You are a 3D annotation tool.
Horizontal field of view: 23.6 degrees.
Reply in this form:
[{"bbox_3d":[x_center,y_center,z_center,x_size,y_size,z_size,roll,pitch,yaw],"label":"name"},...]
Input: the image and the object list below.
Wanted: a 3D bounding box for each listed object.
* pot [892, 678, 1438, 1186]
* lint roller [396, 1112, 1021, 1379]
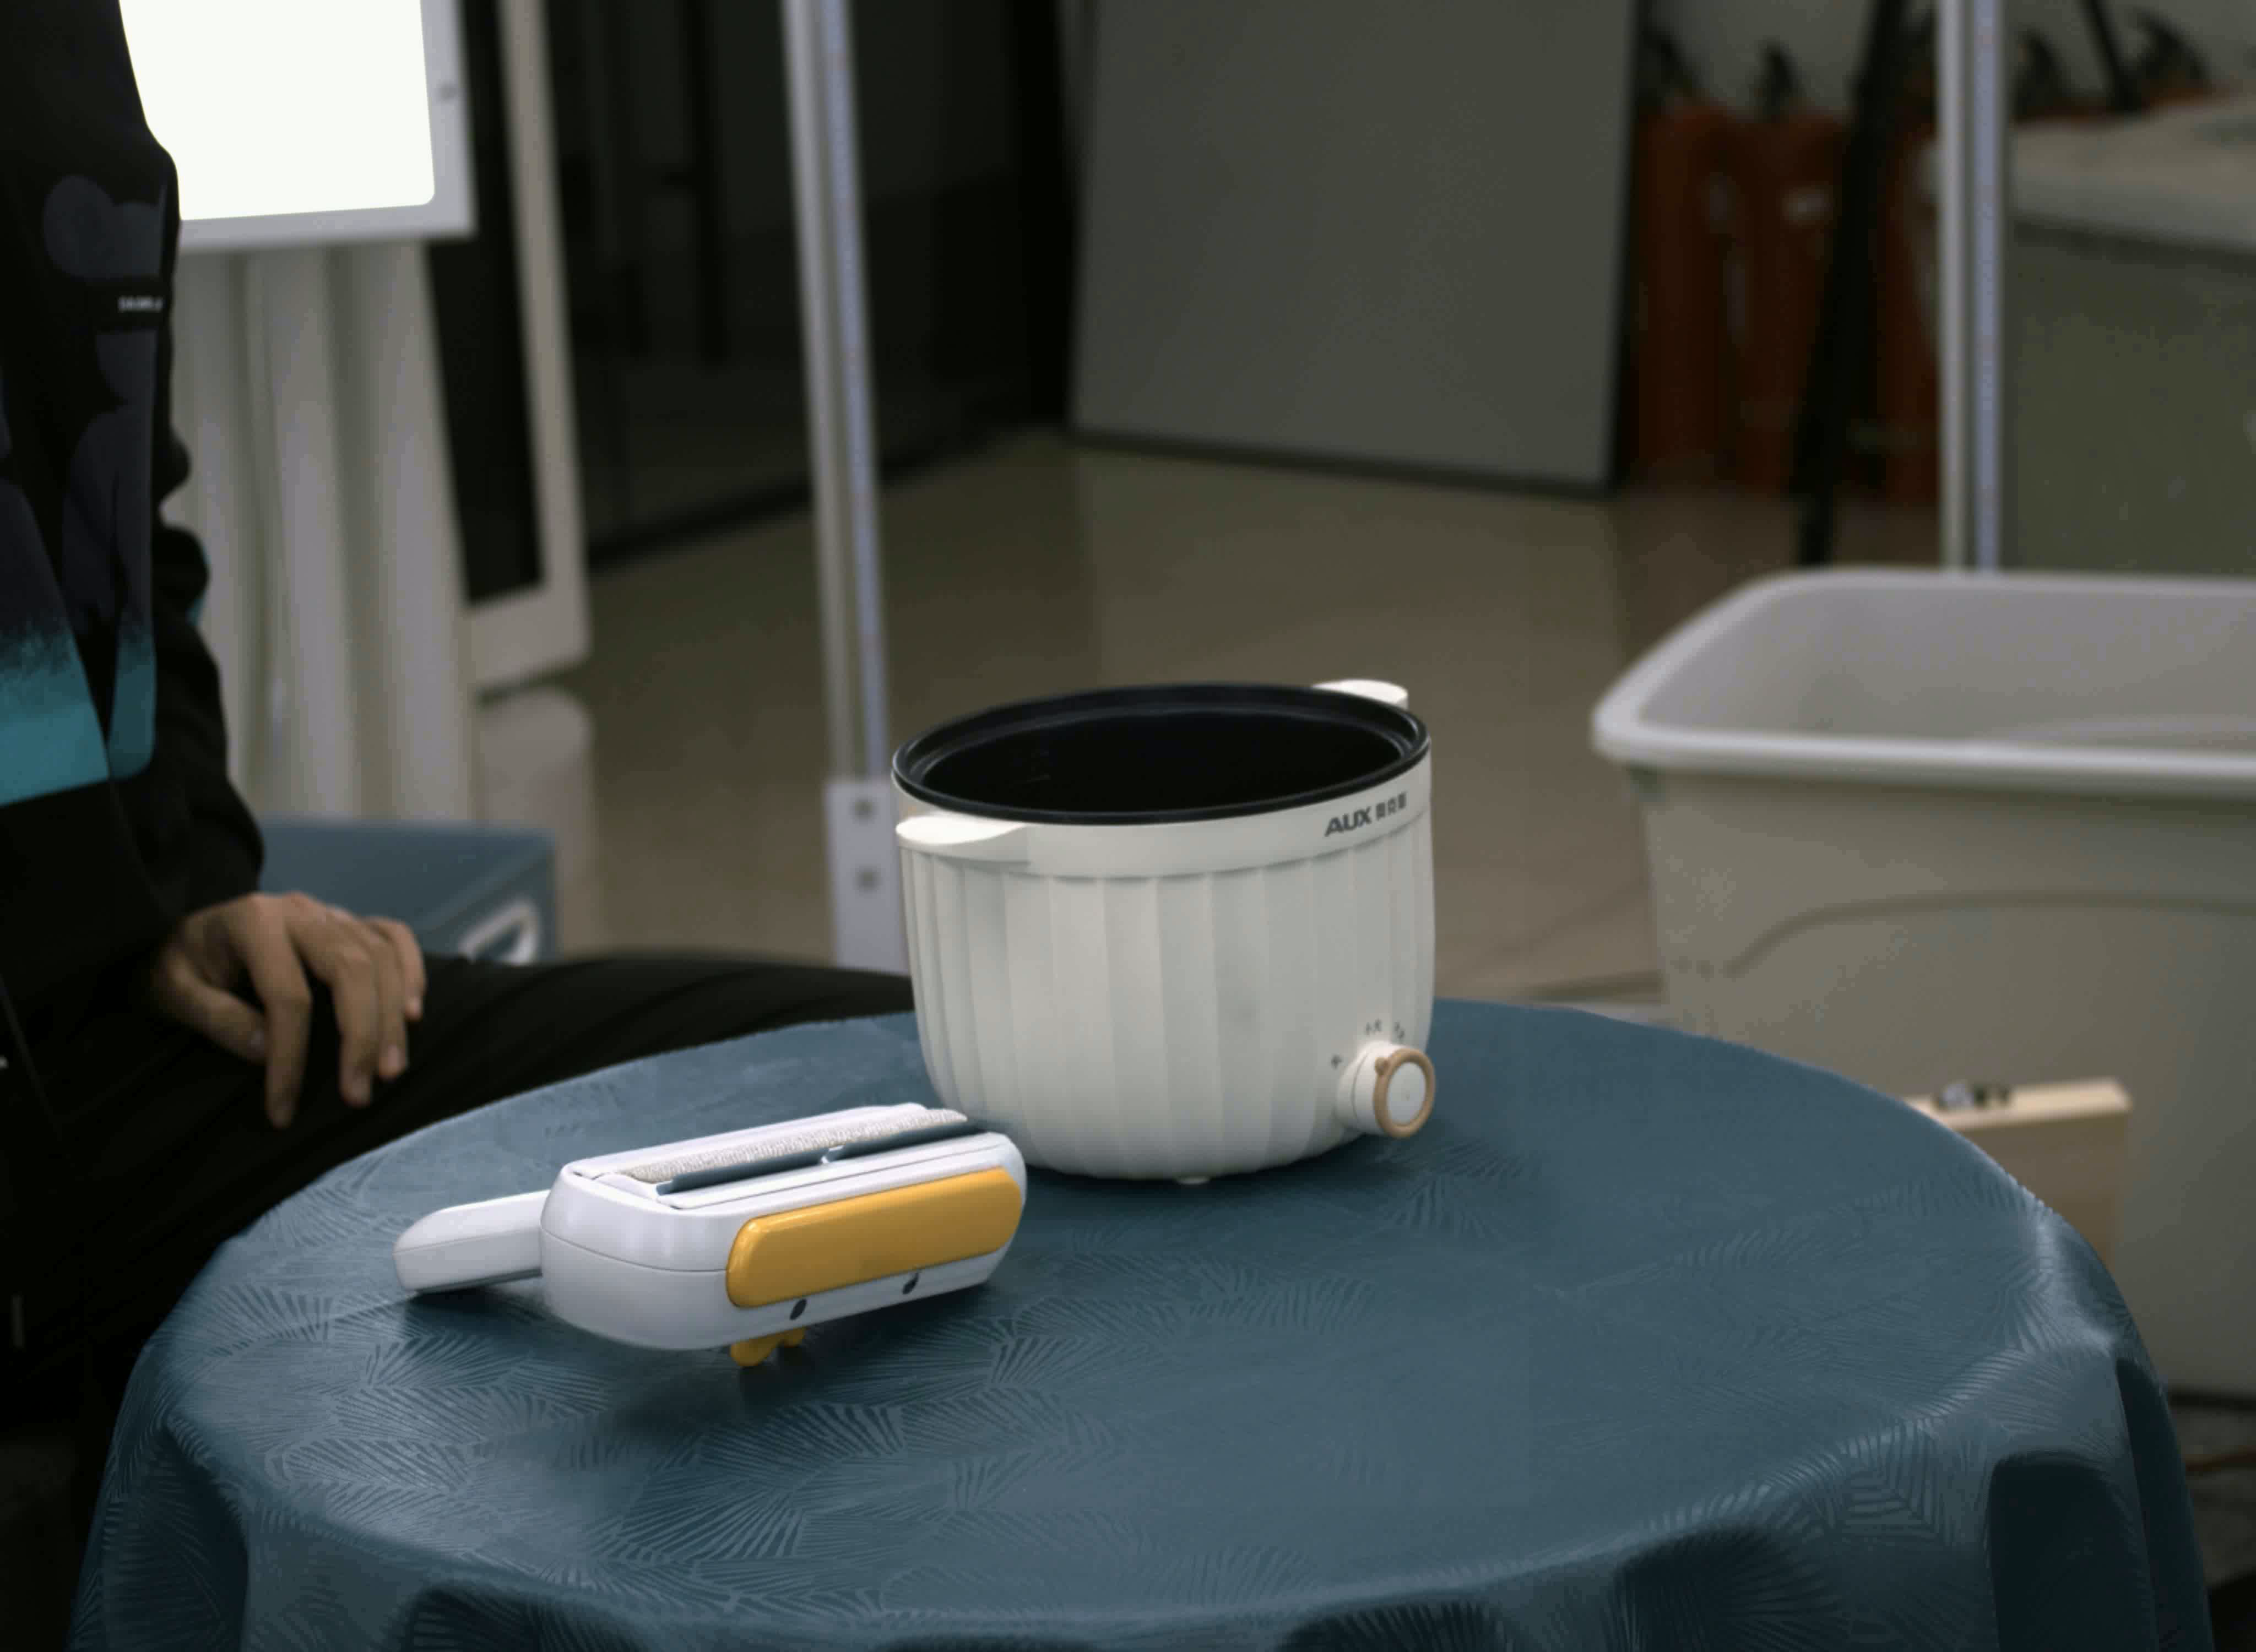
[{"bbox_3d":[0.019,0.037,1.812,0.192,0.144,0.236,5,17,42],"label":"pot"},{"bbox_3d":[-0.152,0.124,1.663,0.194,0.075,0.189,4,10,38],"label":"lint roller"}]
